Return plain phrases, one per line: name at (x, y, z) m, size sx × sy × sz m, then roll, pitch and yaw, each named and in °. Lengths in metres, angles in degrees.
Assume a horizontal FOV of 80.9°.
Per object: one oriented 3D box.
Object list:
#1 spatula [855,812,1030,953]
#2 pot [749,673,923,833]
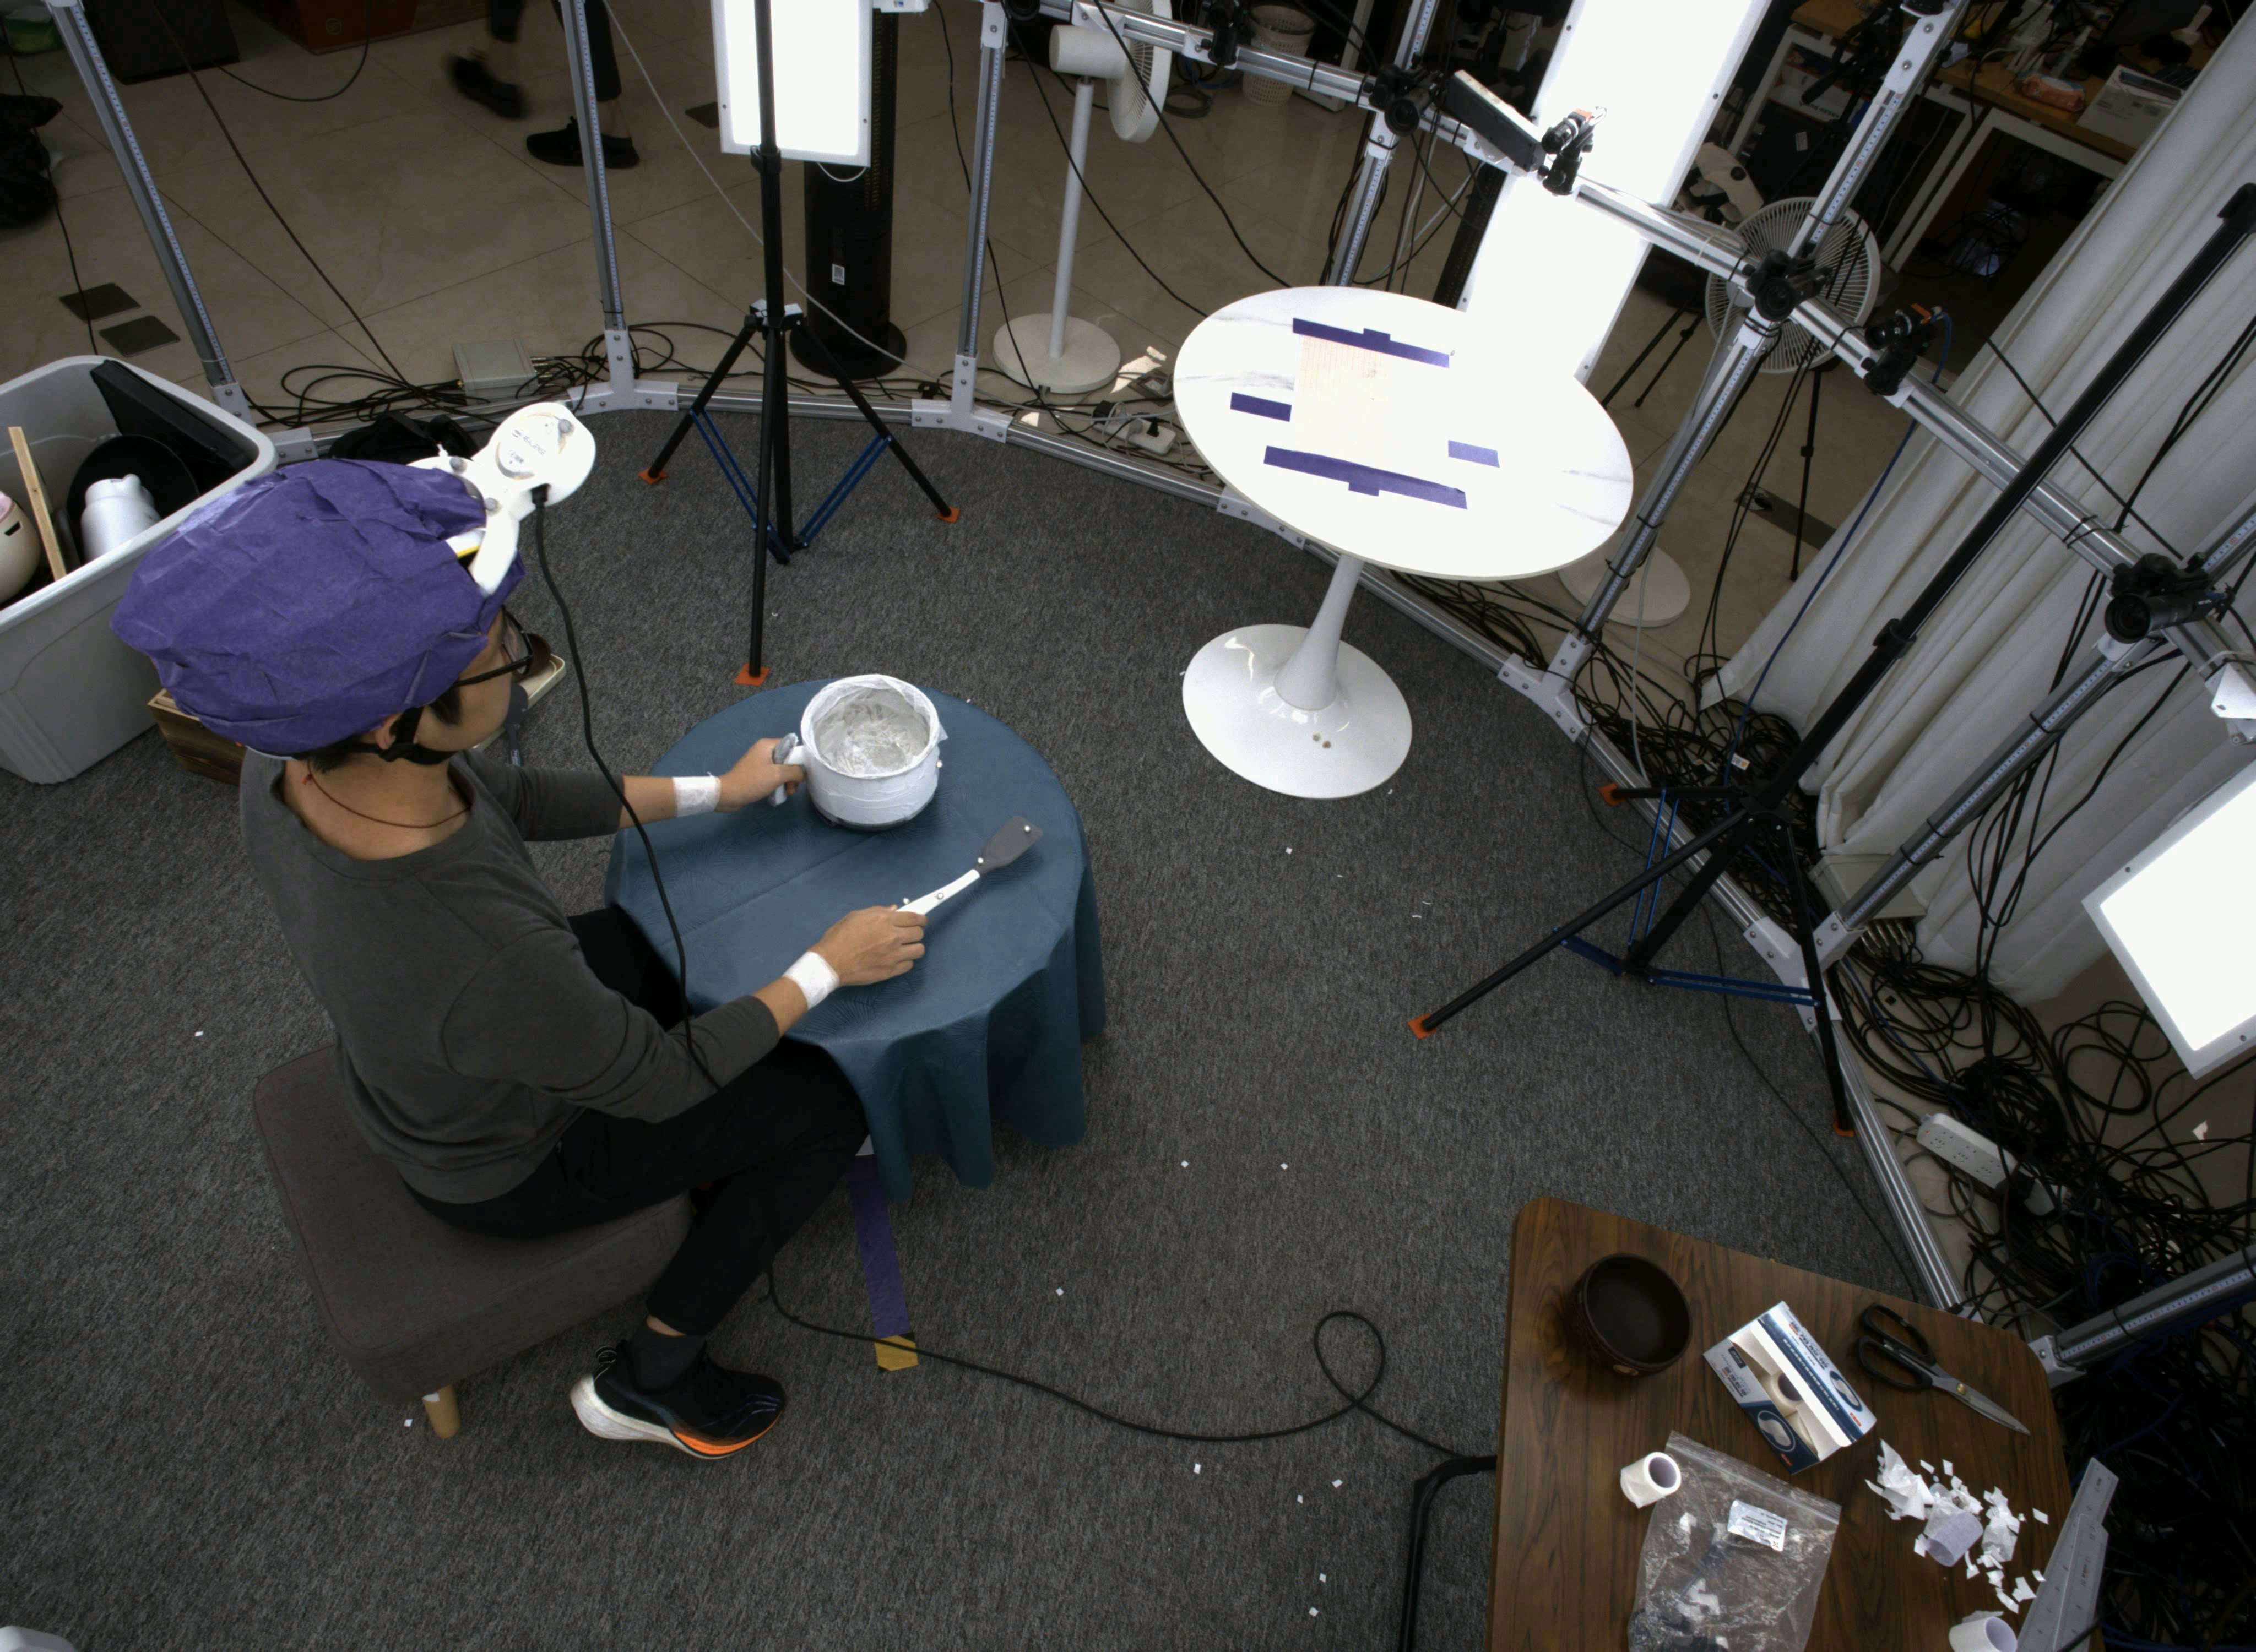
spatula at (-0.237, 0.068, 1.678) m, size 0.057 × 0.033 × 0.288 m, roll 28°, pitch 47°, yaw 26°
pot at (-0.387, -0.087, 1.720) m, size 0.234 × 0.140 × 0.174 m, roll -14°, pitch 57°, yaw -19°
